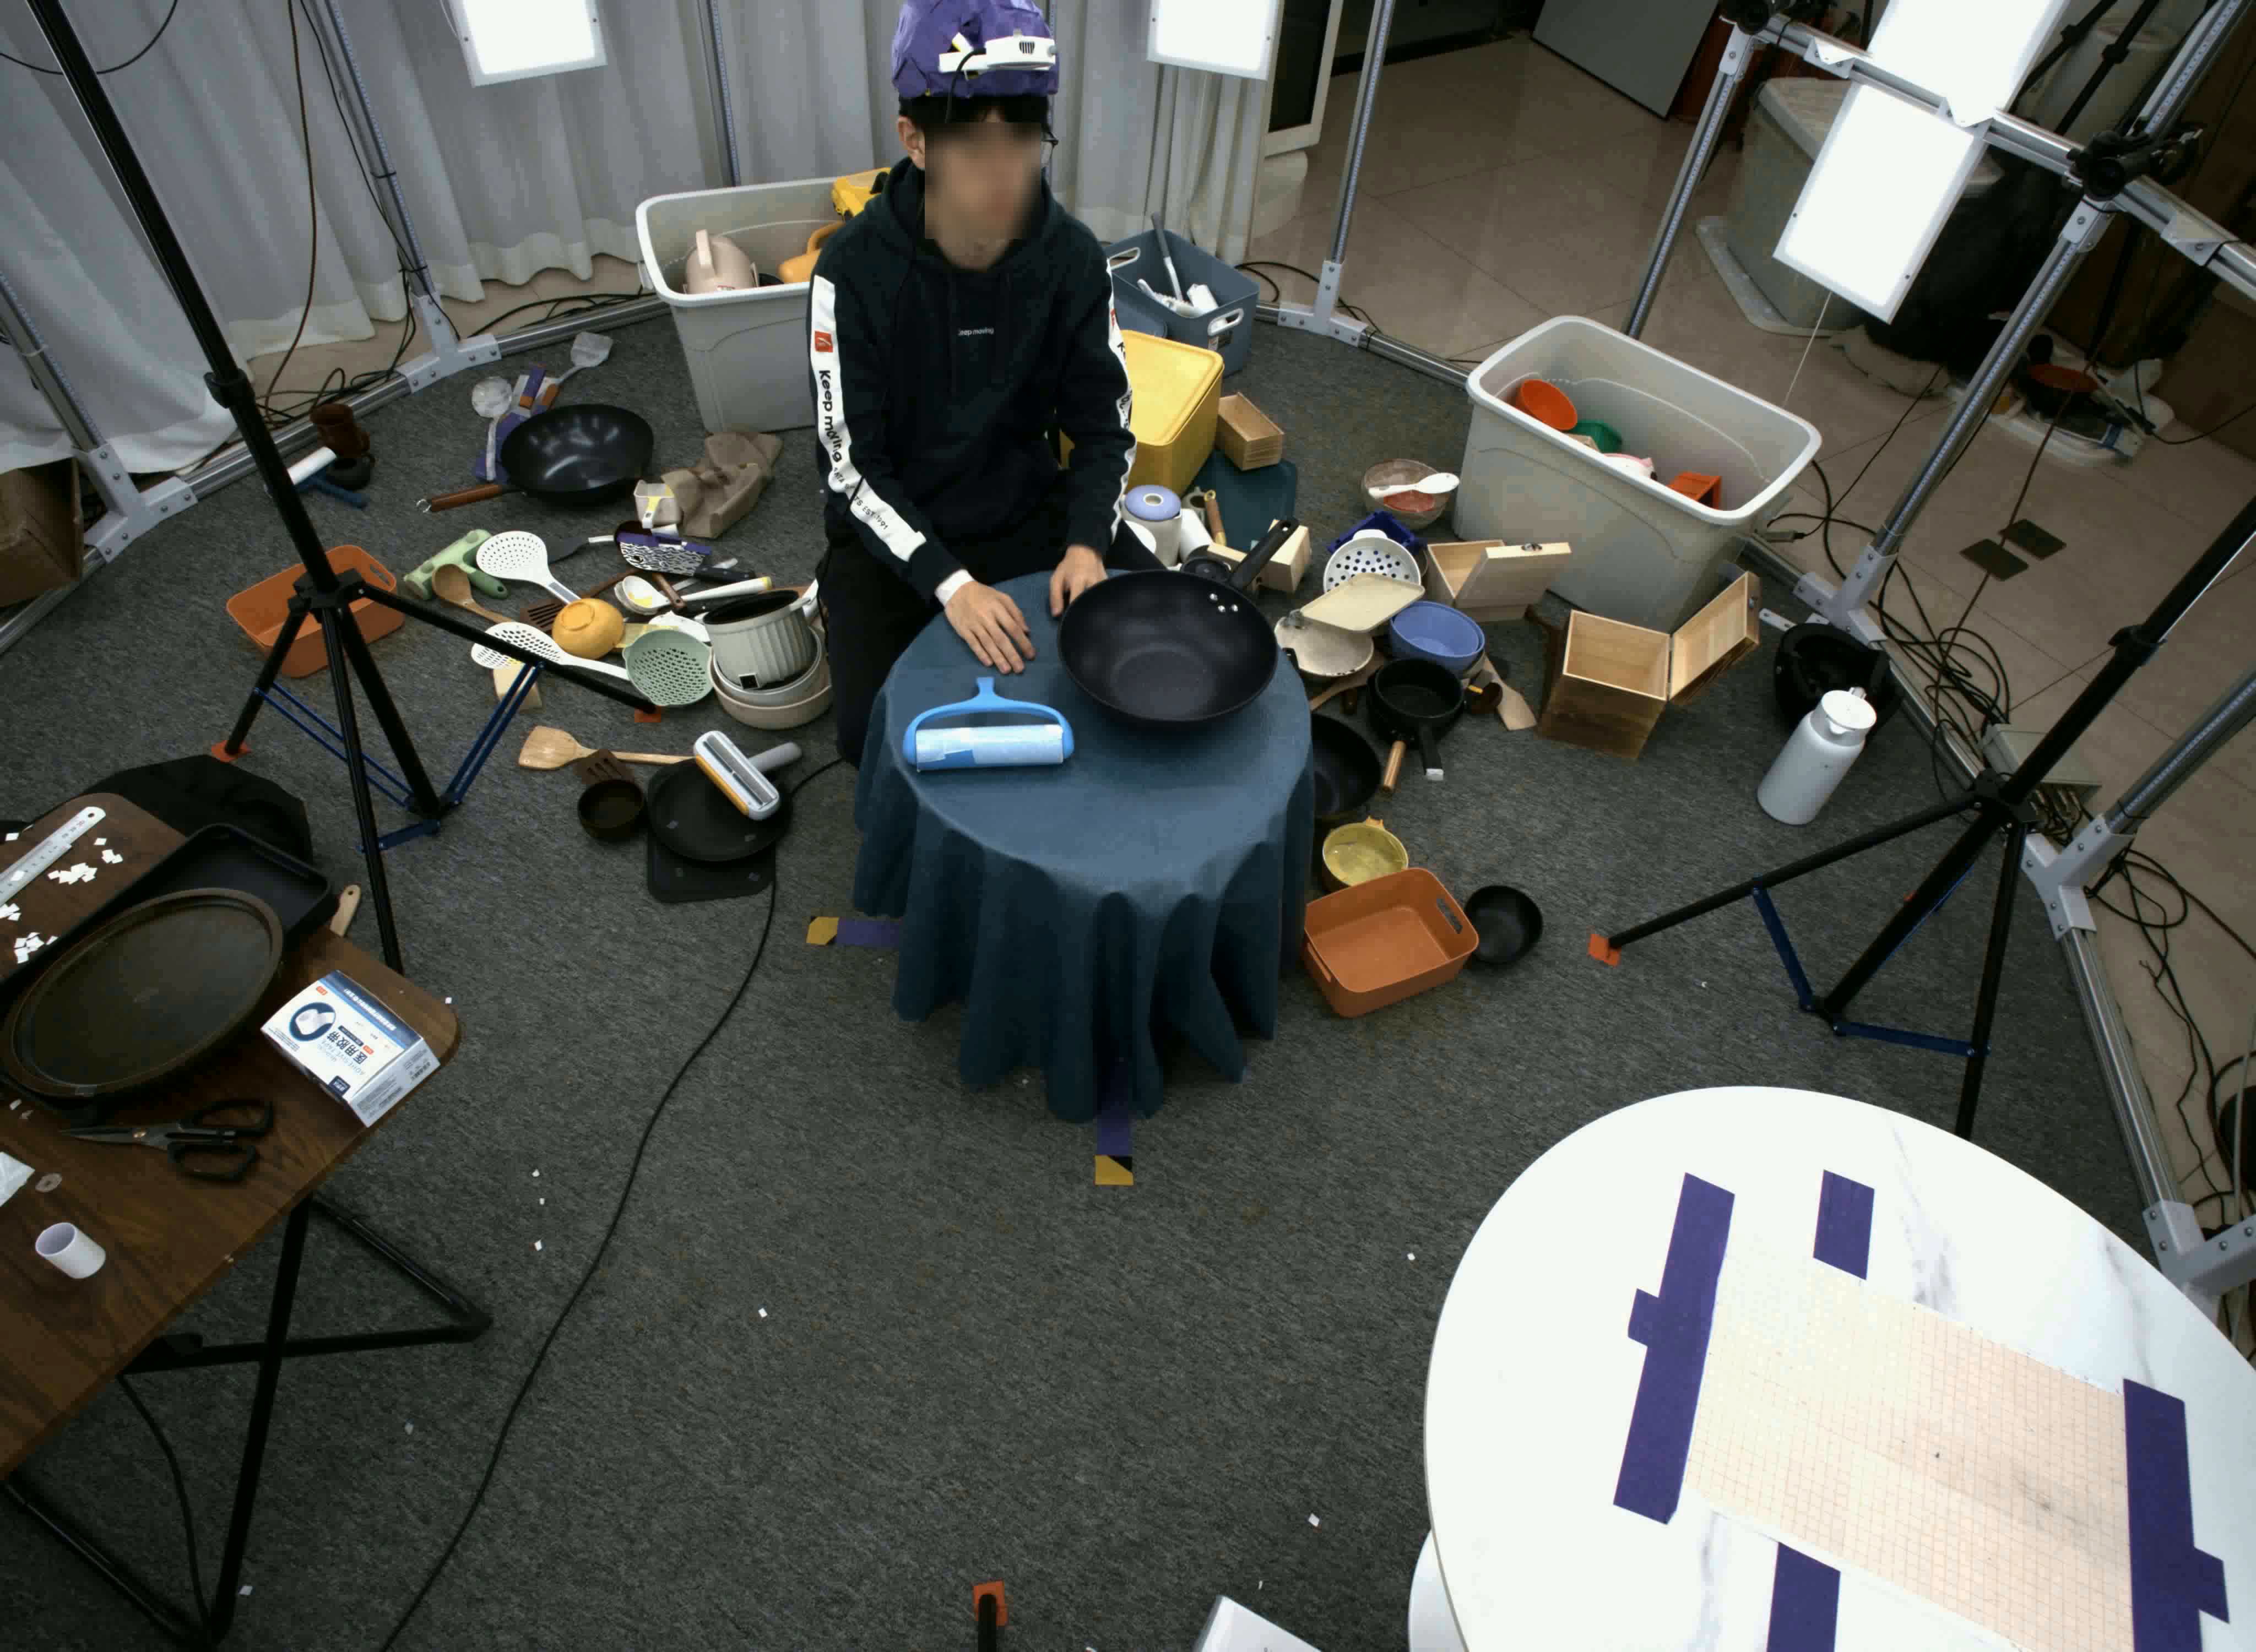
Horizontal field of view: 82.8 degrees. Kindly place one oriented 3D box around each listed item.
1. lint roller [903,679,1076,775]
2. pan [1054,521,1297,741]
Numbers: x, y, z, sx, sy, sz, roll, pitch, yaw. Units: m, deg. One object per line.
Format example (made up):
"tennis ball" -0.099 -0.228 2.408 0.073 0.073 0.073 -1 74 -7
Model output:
"lint roller" -0.193 -0.150 1.749 0.229 0.066 0.185 -7 53 -6
"pan" 0.100 -0.282 1.850 0.313 0.109 0.483 32 54 20
